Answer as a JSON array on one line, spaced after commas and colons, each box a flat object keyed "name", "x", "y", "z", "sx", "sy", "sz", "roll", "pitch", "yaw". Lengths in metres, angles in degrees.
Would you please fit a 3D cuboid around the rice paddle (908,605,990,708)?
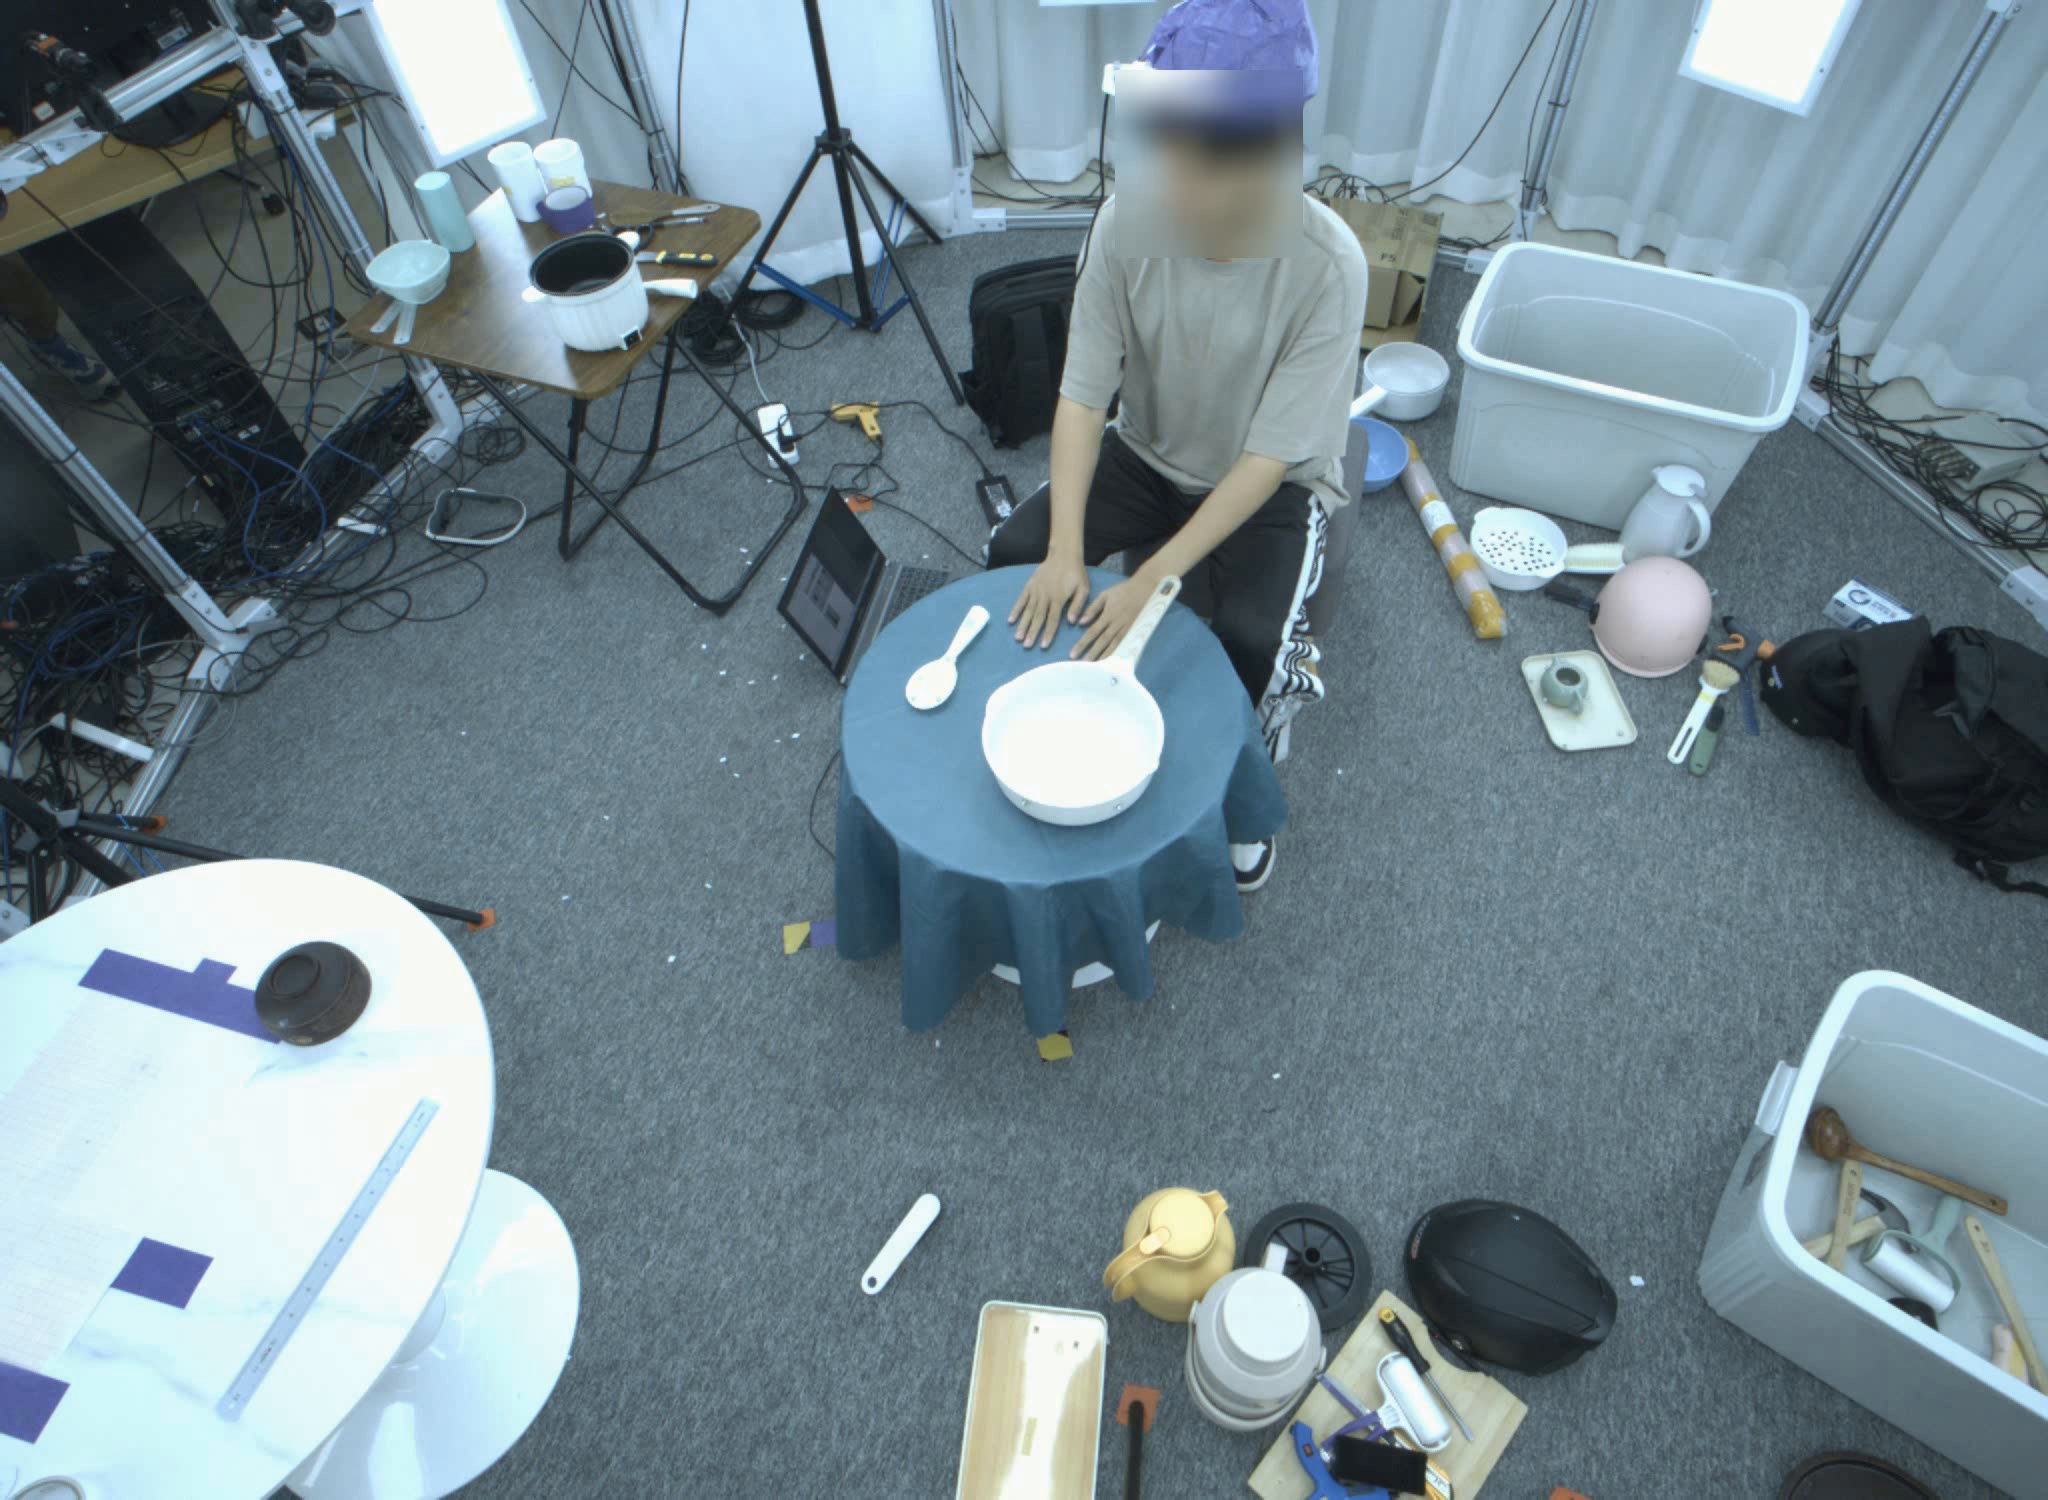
[{"name": "rice paddle", "x": -0.112, "y": -0.142, "z": 1.870, "sx": 0.068, "sy": 0.030, "sz": 0.205, "roll": 19, "pitch": 58, "yaw": 18}]

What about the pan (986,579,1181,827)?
[{"name": "pan", "x": 0.121, "y": -0.070, "z": 1.773, "sx": 0.259, "sy": 0.103, "sz": 0.436, "roll": 23, "pitch": 58, "yaw": 21}]
